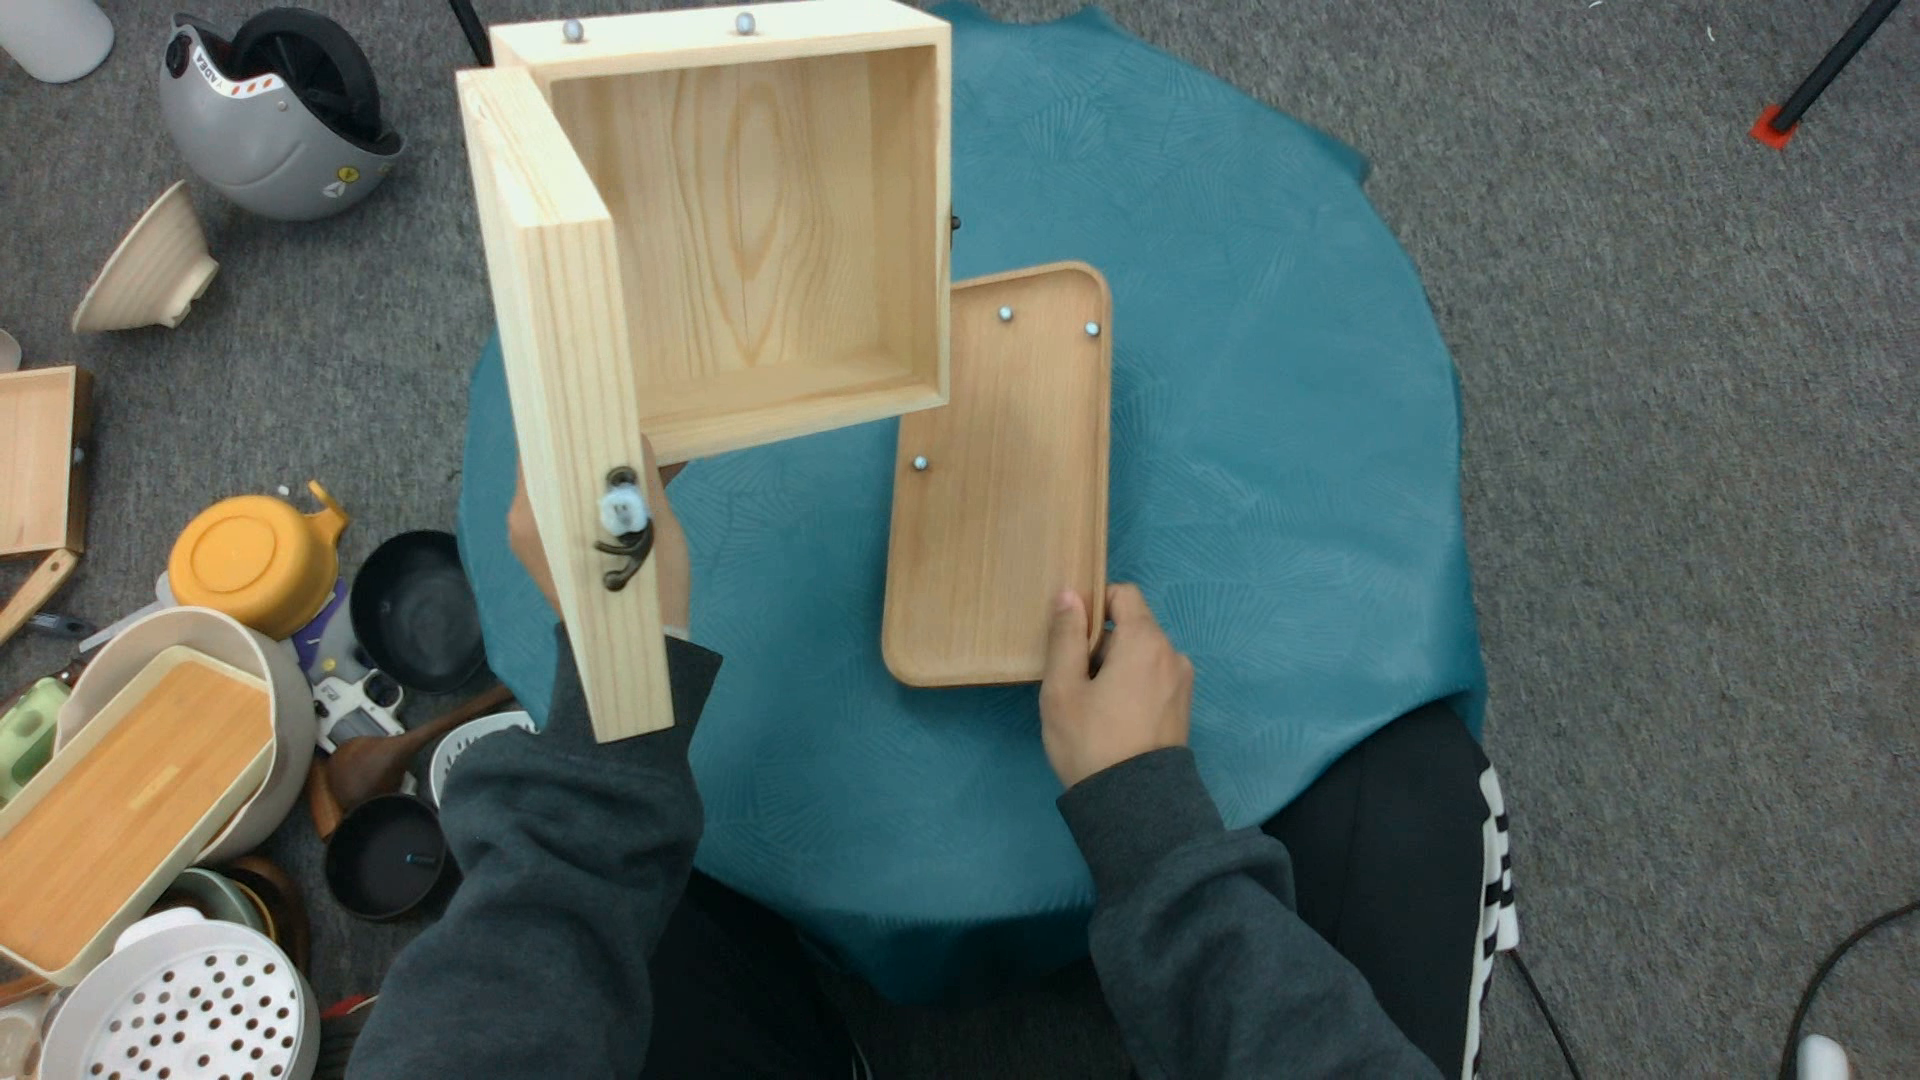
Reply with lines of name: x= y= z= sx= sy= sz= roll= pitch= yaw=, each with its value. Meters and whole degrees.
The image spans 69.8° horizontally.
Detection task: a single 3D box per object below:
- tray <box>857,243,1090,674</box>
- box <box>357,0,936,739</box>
tray: x=0.010 y=-0.048 z=0.764 sx=0.130 sy=0.023 sz=0.251 roll=-7 pitch=67 yaw=25
box: x=-0.103 y=-0.098 z=0.557 sx=0.266 sy=0.181 sz=0.253 roll=-15 pitch=38 yaw=-23
